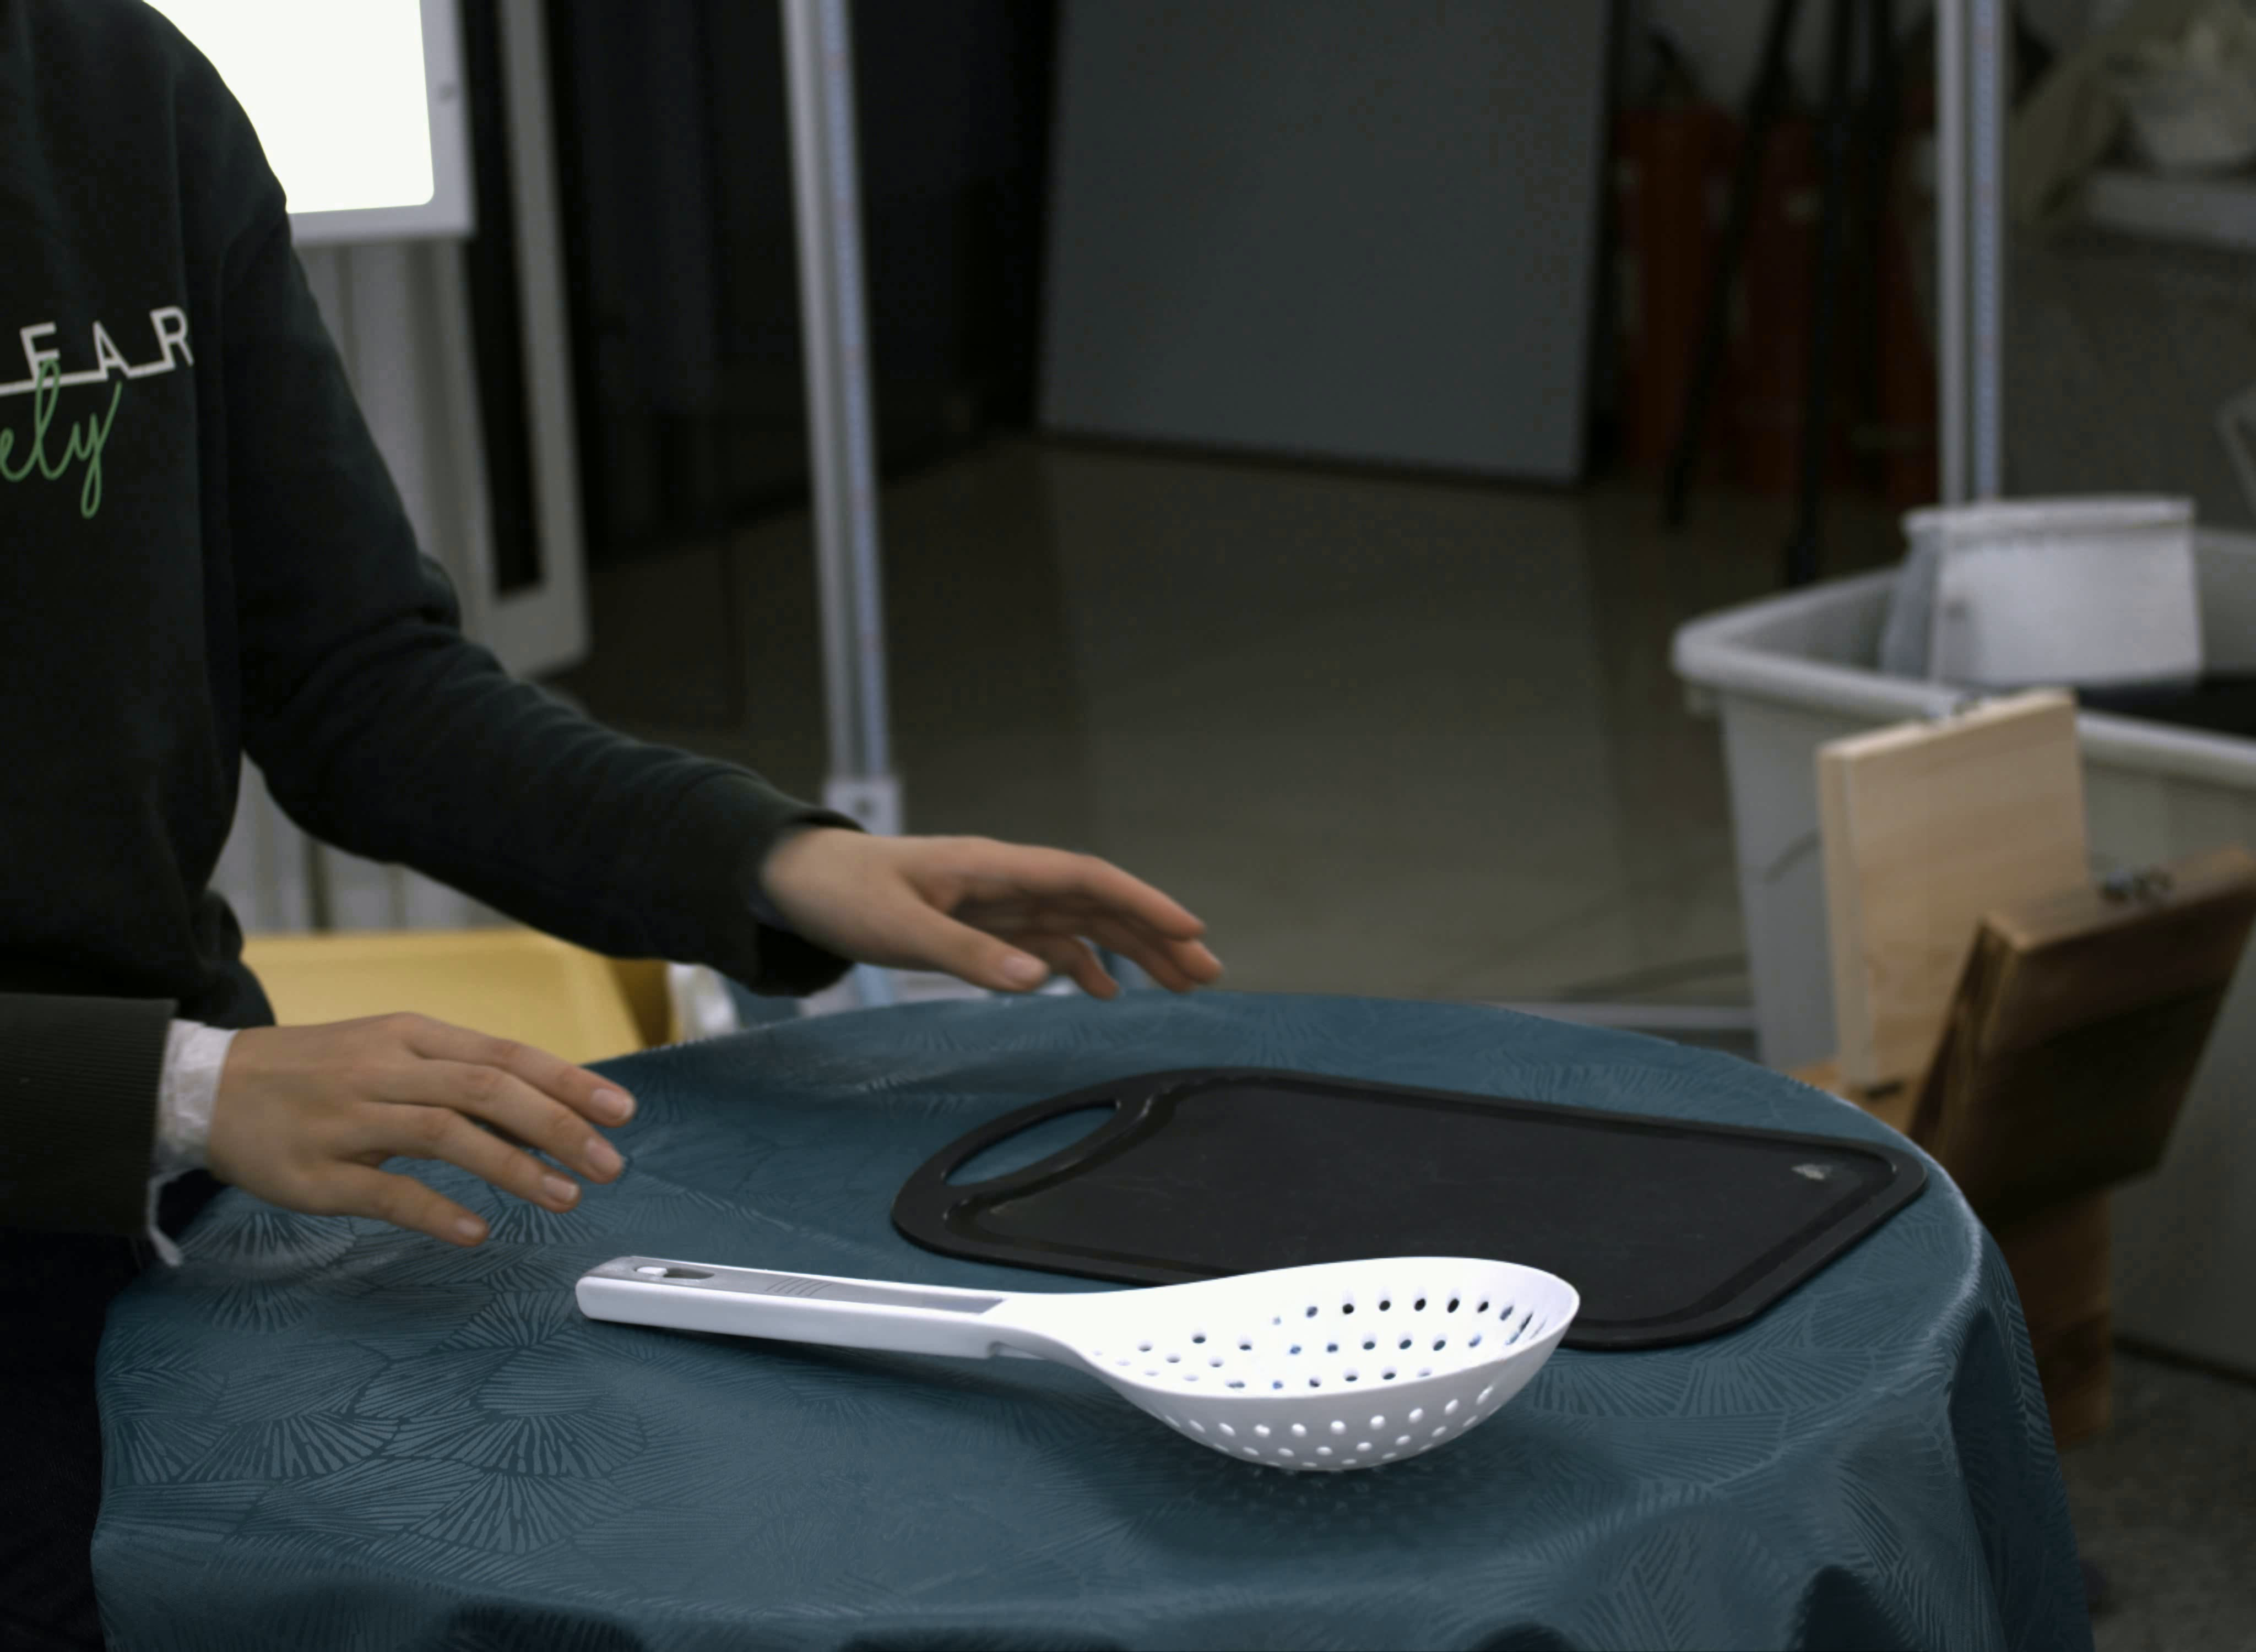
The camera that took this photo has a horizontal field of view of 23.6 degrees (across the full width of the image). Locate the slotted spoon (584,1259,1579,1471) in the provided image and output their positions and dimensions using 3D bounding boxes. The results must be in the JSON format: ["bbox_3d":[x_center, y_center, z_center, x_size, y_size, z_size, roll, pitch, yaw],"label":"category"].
[{"bbox_3d":[-0.025,0.147,1.580,0.352,0.046,0.133,5,14,37],"label":"slotted spoon"}]

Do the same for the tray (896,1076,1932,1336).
[{"bbox_3d":[0.084,0.118,1.743,0.327,0.010,0.207,5,16,33],"label":"tray"}]
